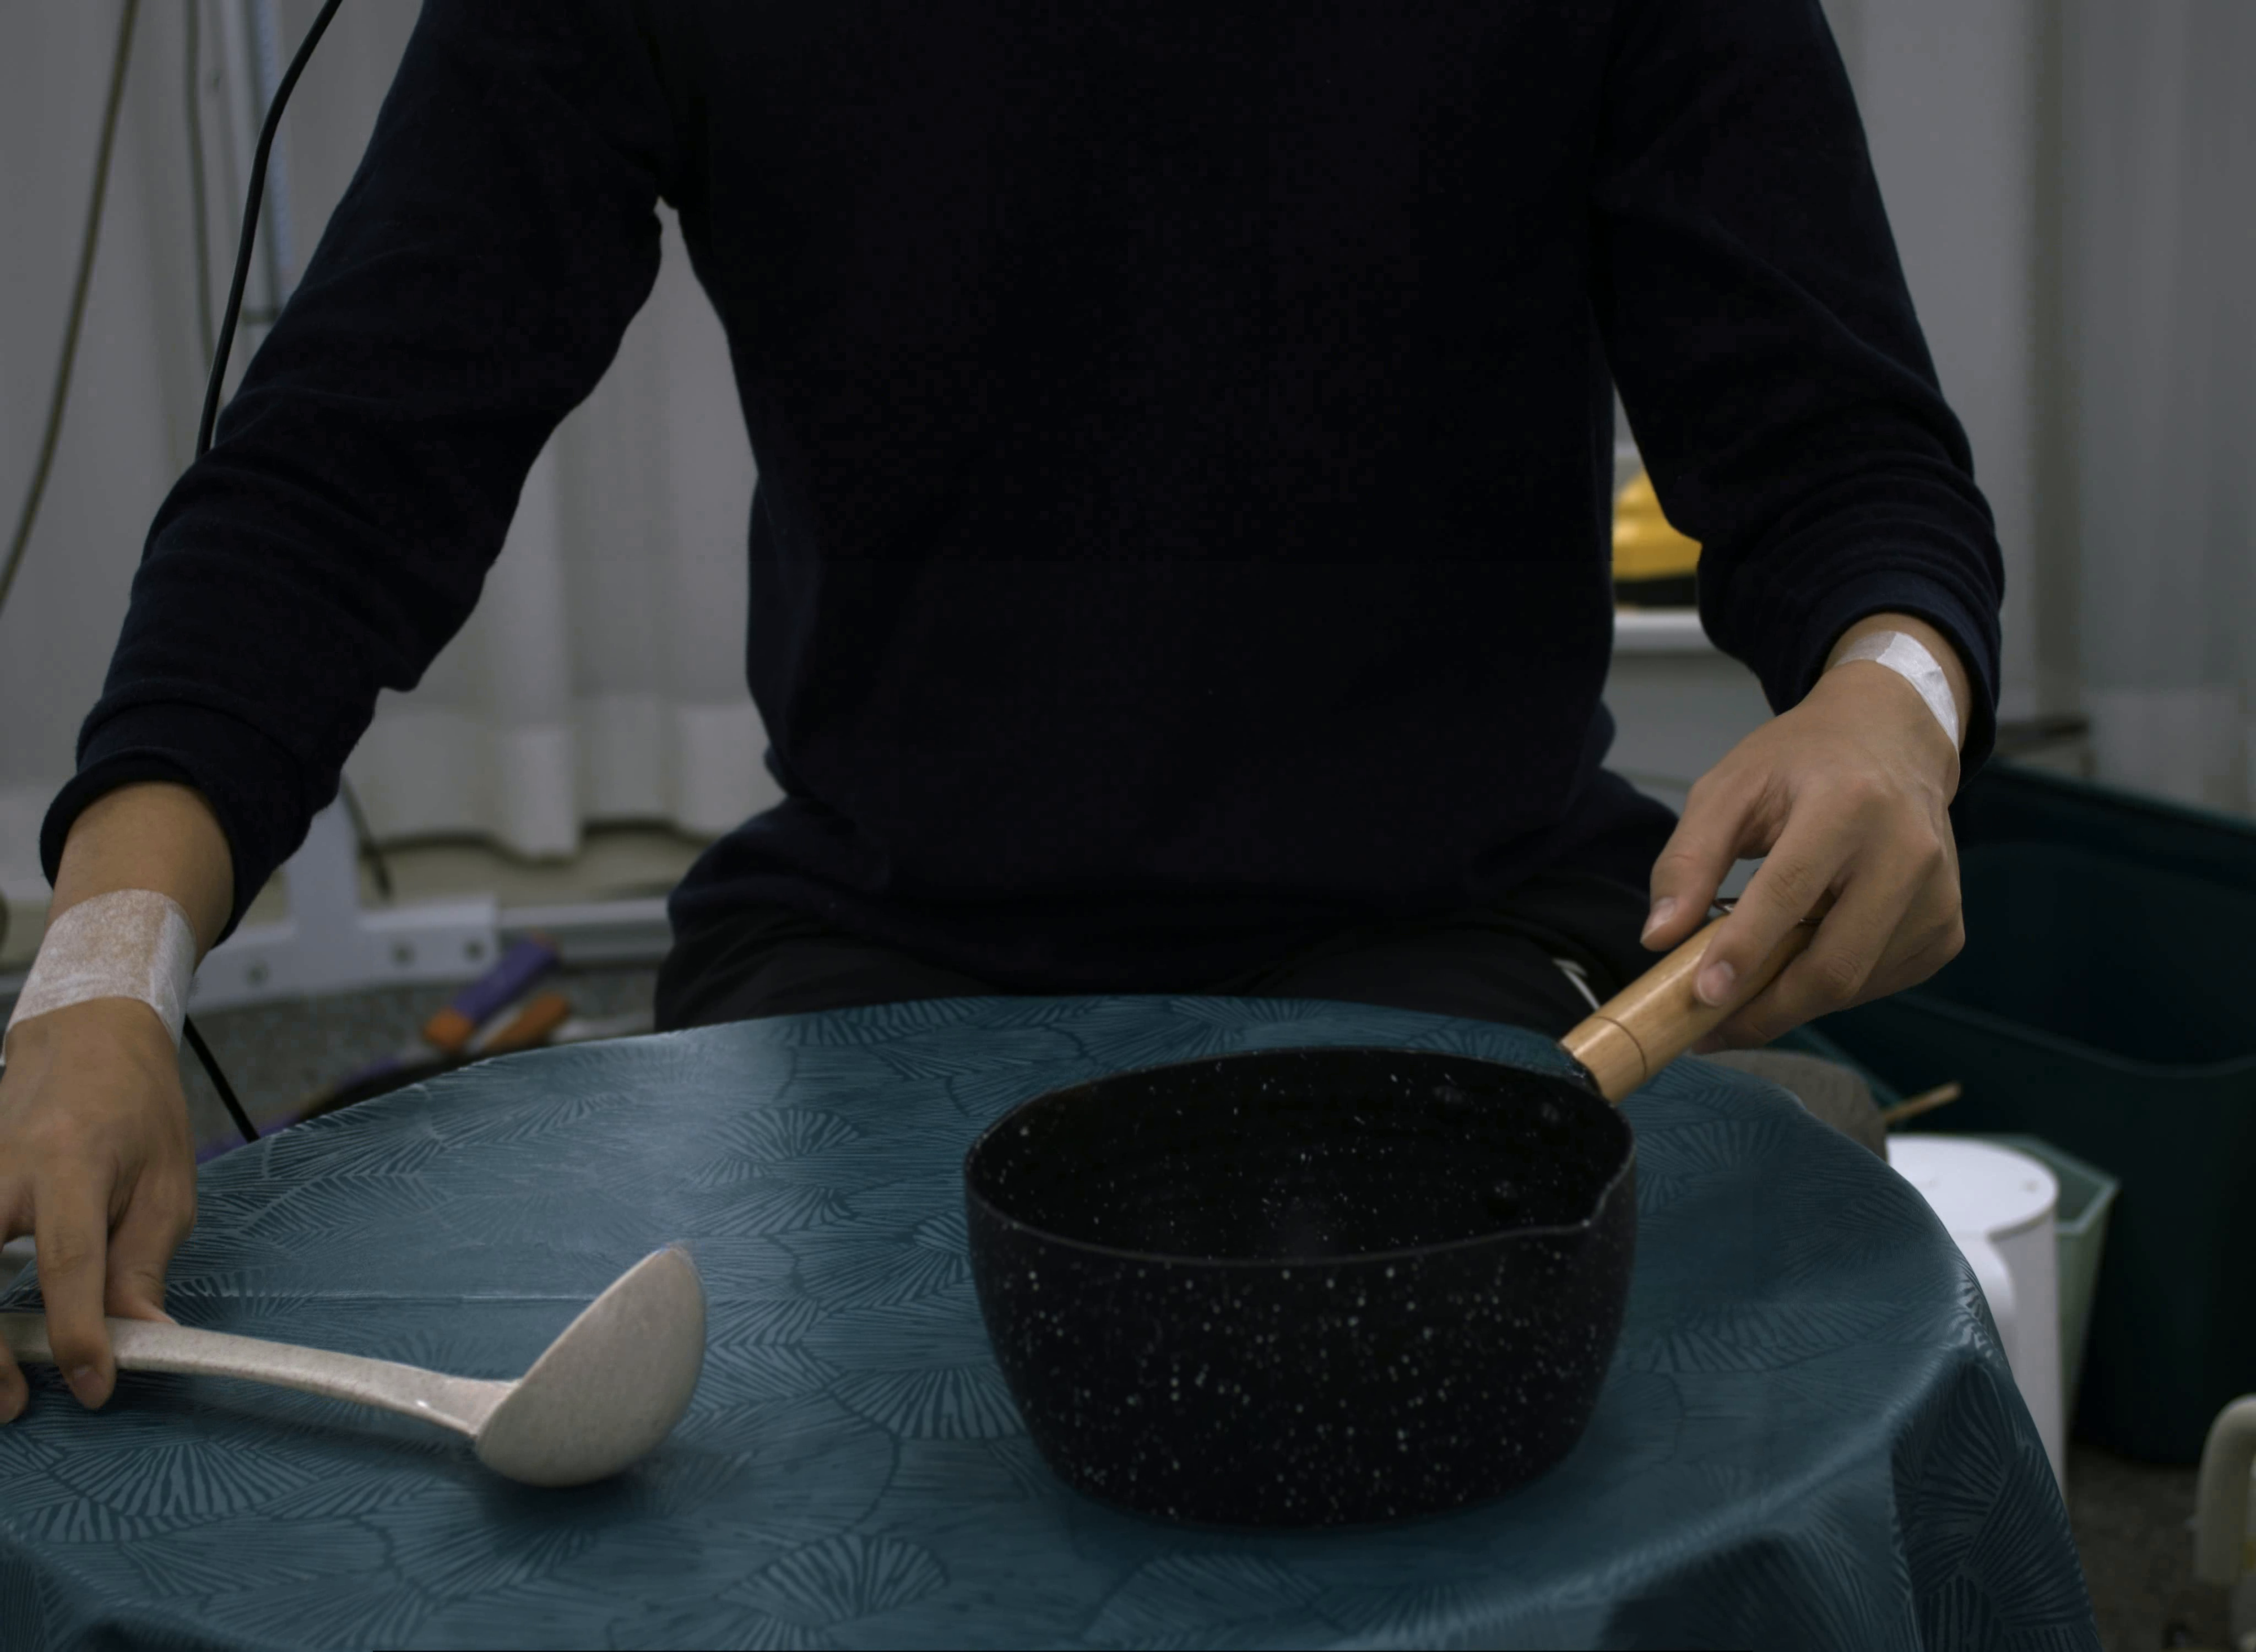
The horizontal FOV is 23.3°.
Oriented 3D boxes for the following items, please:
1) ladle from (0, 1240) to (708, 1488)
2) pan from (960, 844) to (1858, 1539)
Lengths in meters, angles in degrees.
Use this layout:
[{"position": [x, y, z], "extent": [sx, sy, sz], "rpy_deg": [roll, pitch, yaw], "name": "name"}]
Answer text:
[{"position": [-0.240, 0.138, 1.550], "extent": [0.275, 0.069, 0.089], "rpy_deg": [5, 23, 30], "name": "ladle"}, {"position": [0.100, 0.098, 1.550], "extent": [0.208, 0.108, 0.342], "rpy_deg": [9, 20, 41], "name": "pan"}]
